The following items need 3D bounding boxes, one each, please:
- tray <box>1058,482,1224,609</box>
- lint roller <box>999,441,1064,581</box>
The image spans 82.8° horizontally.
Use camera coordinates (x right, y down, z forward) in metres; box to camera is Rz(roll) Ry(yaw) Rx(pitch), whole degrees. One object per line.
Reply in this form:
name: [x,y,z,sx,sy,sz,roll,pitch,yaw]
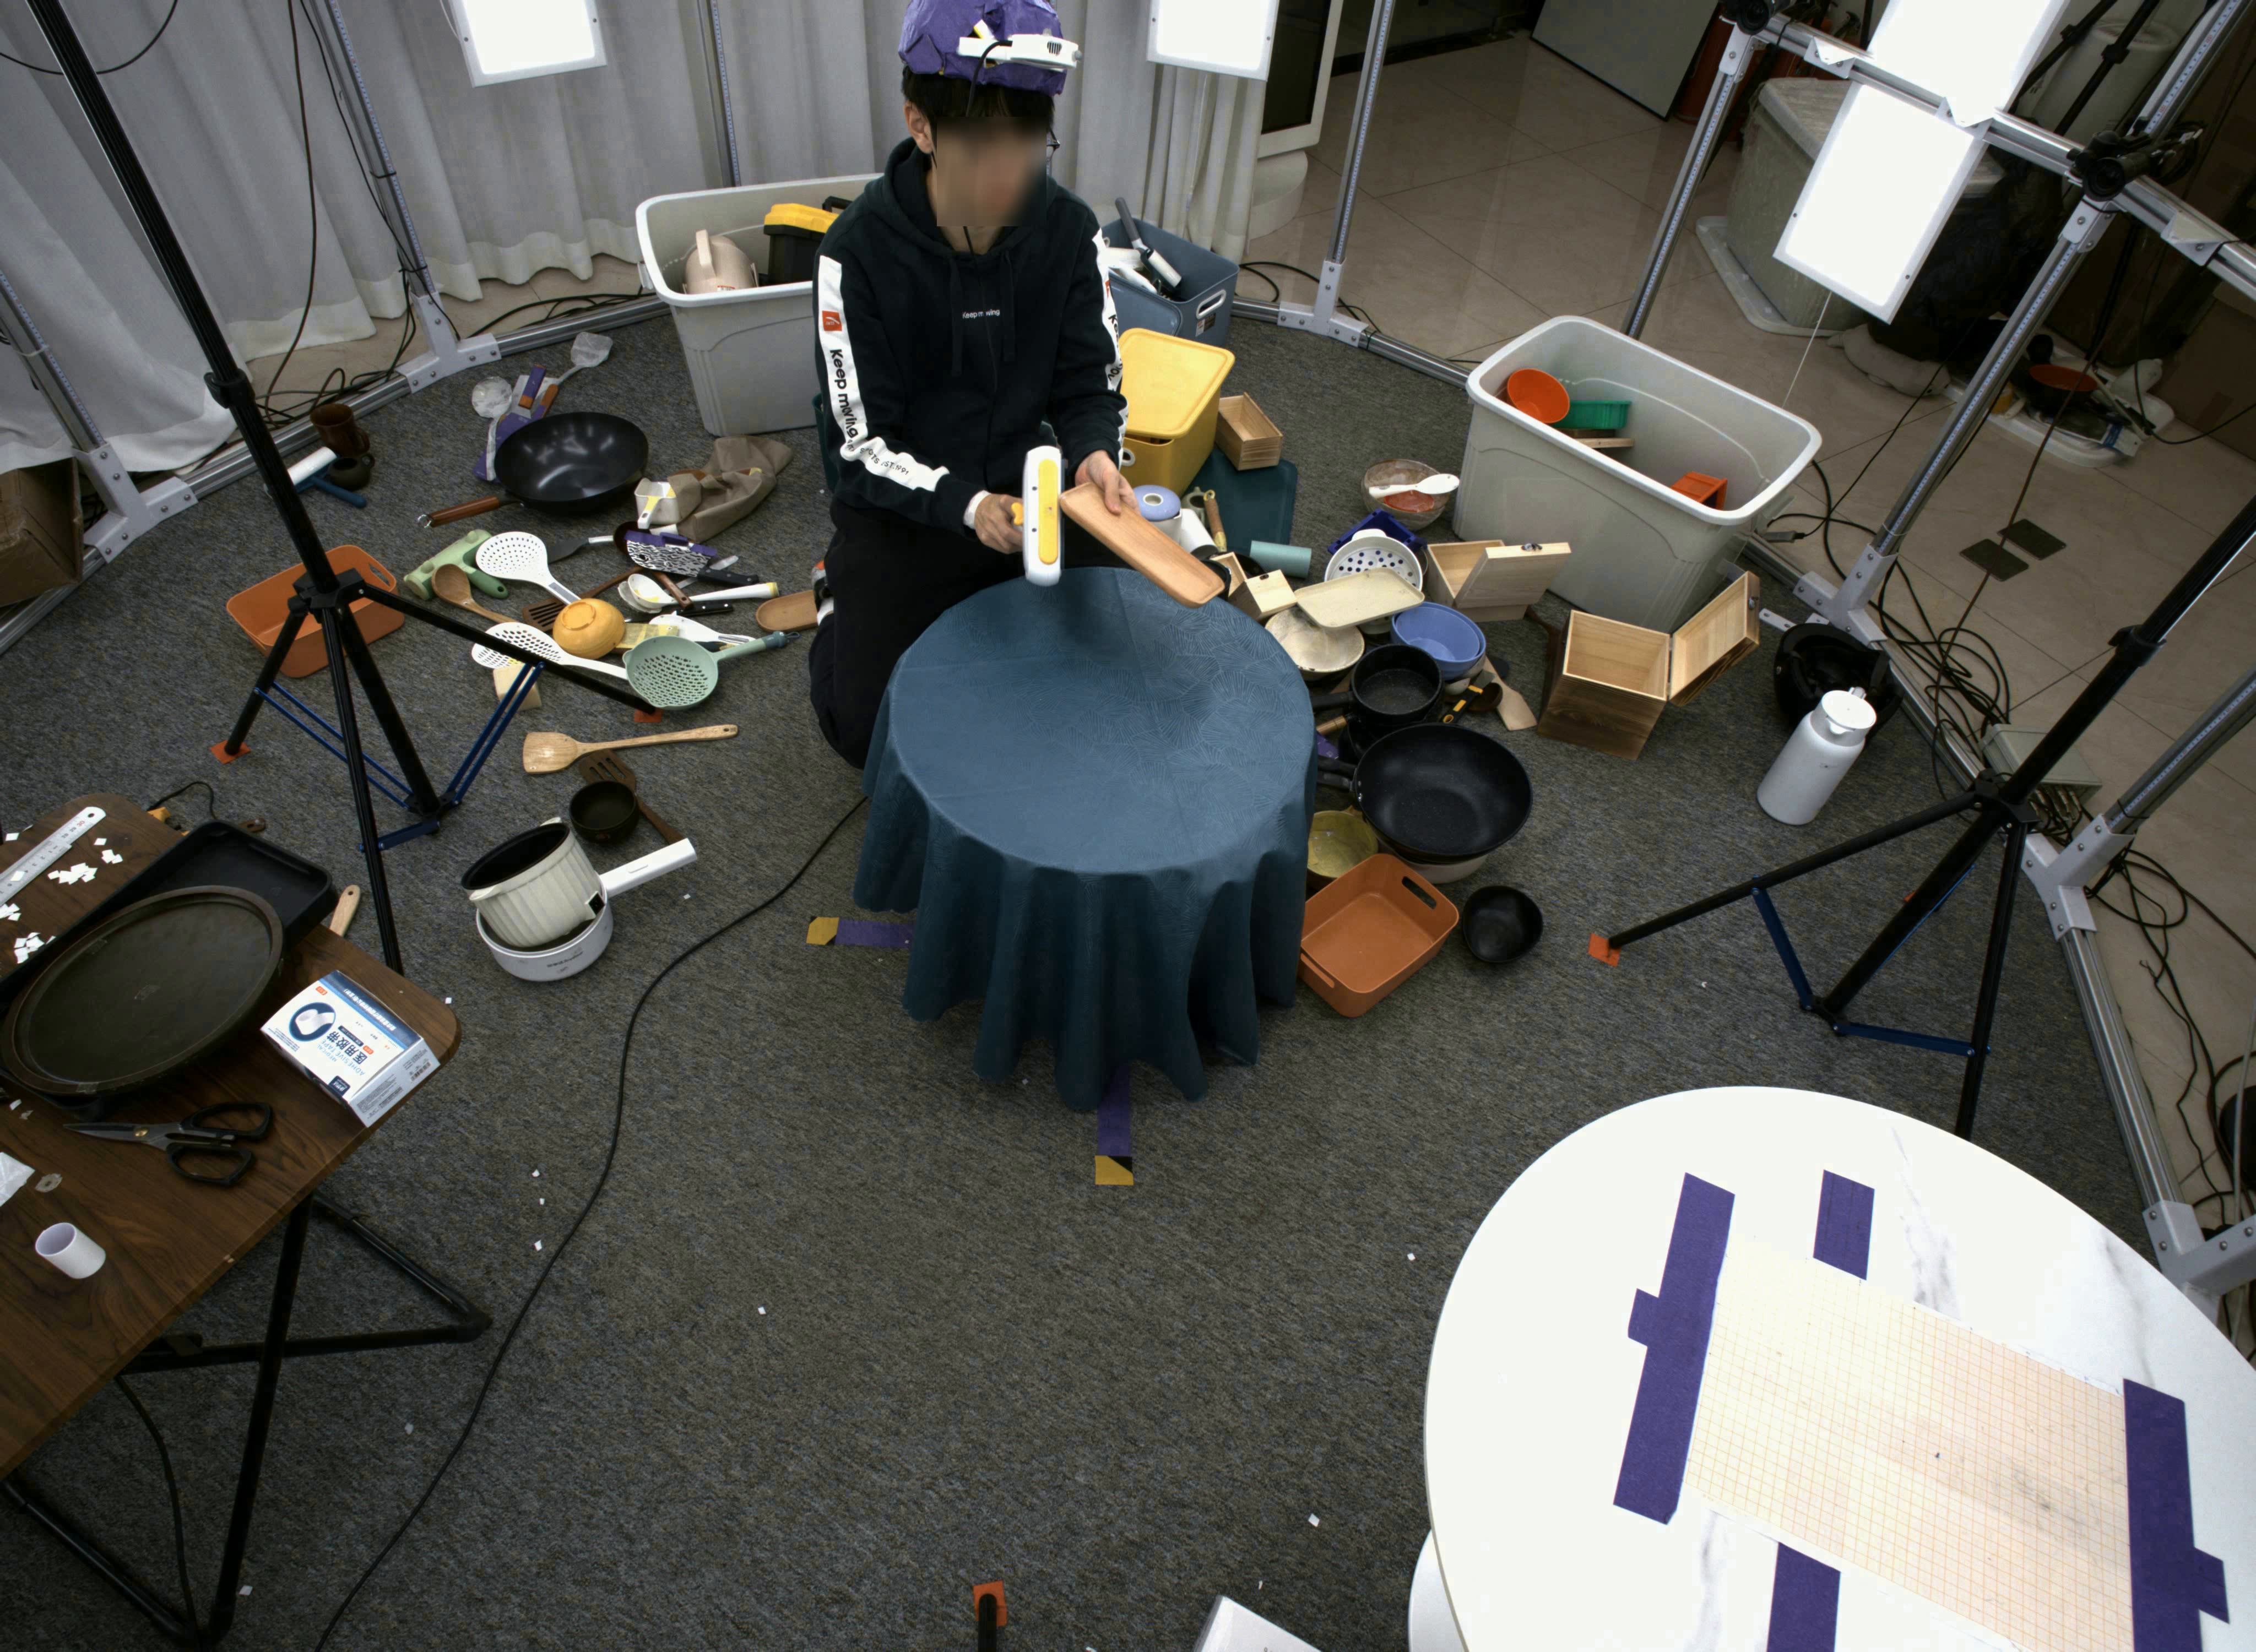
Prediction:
tray: [0.018,-0.393,1.798,0.252,0.022,0.132,39,32,8]
lint roller: [-0.141,-0.436,1.854,0.074,0.192,0.193,-6,88,-15]
